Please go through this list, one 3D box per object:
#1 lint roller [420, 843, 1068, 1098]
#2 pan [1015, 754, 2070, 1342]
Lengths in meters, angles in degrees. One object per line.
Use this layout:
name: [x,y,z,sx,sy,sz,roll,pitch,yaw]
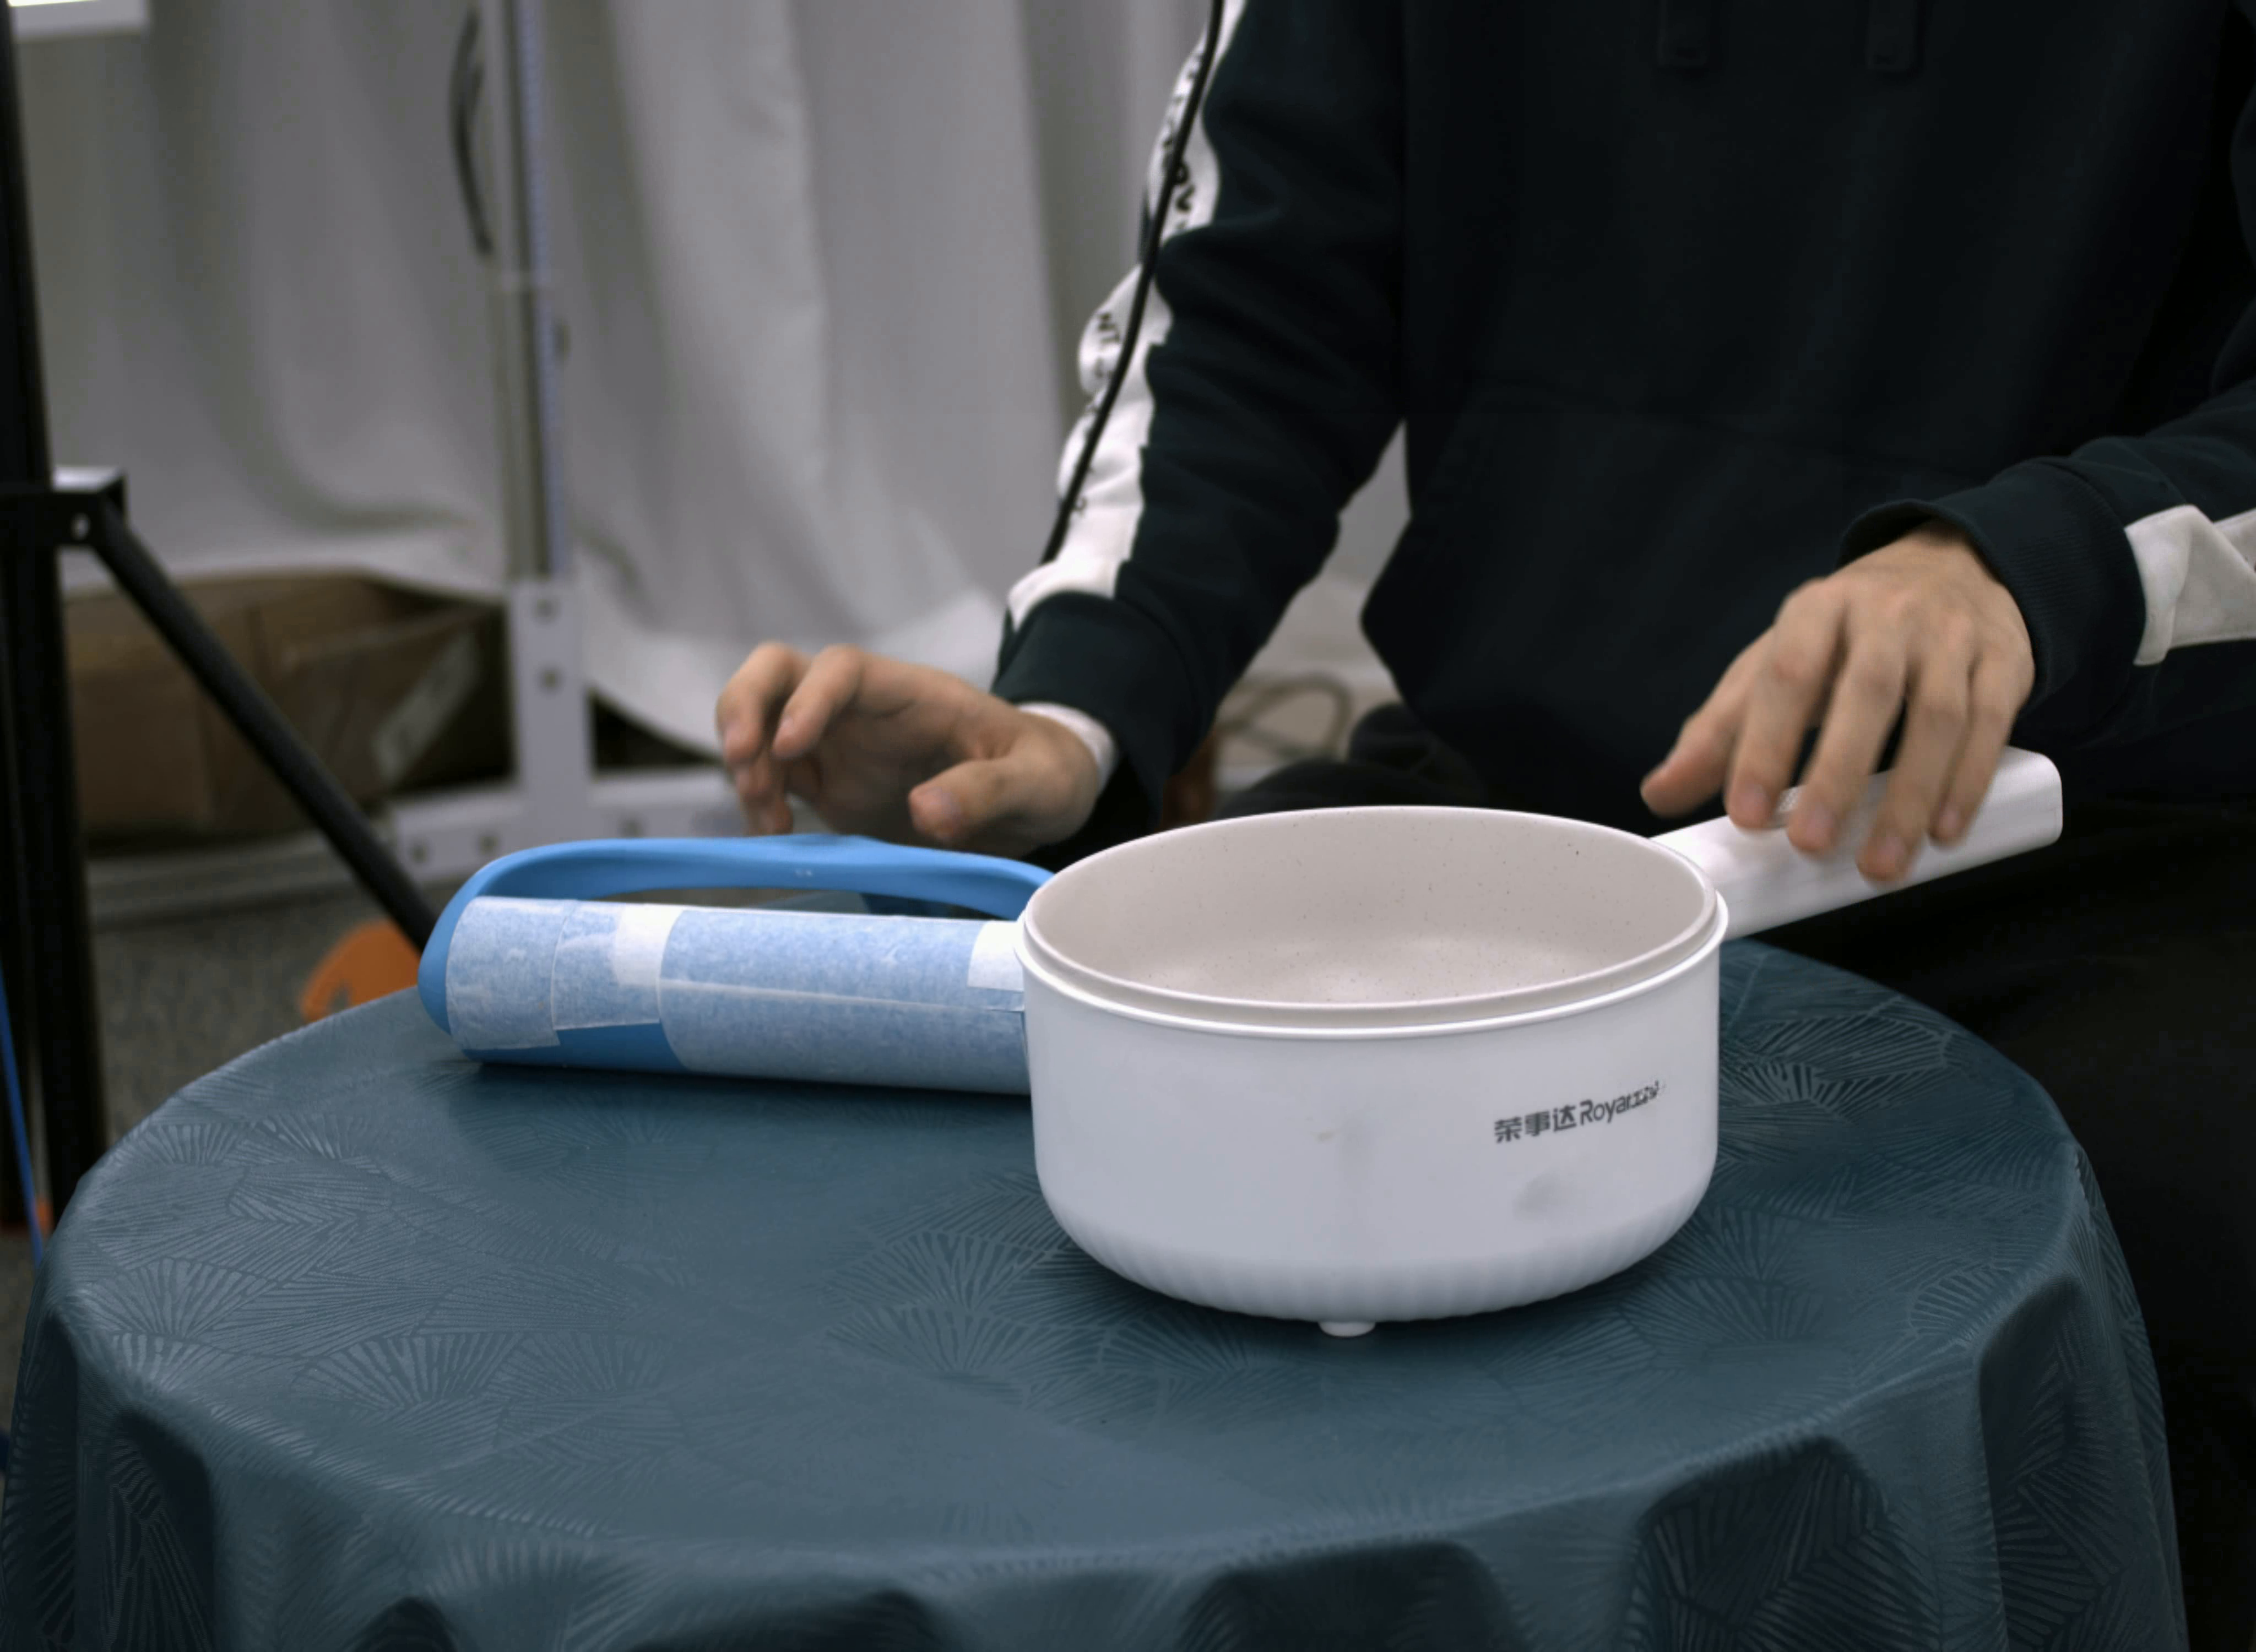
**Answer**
lint roller: [-0.100,0.036,1.725,0.231,0.068,0.179,0,17,16]
pan: [0.132,0.057,1.536,0.347,0.102,0.206,-12,17,-32]
